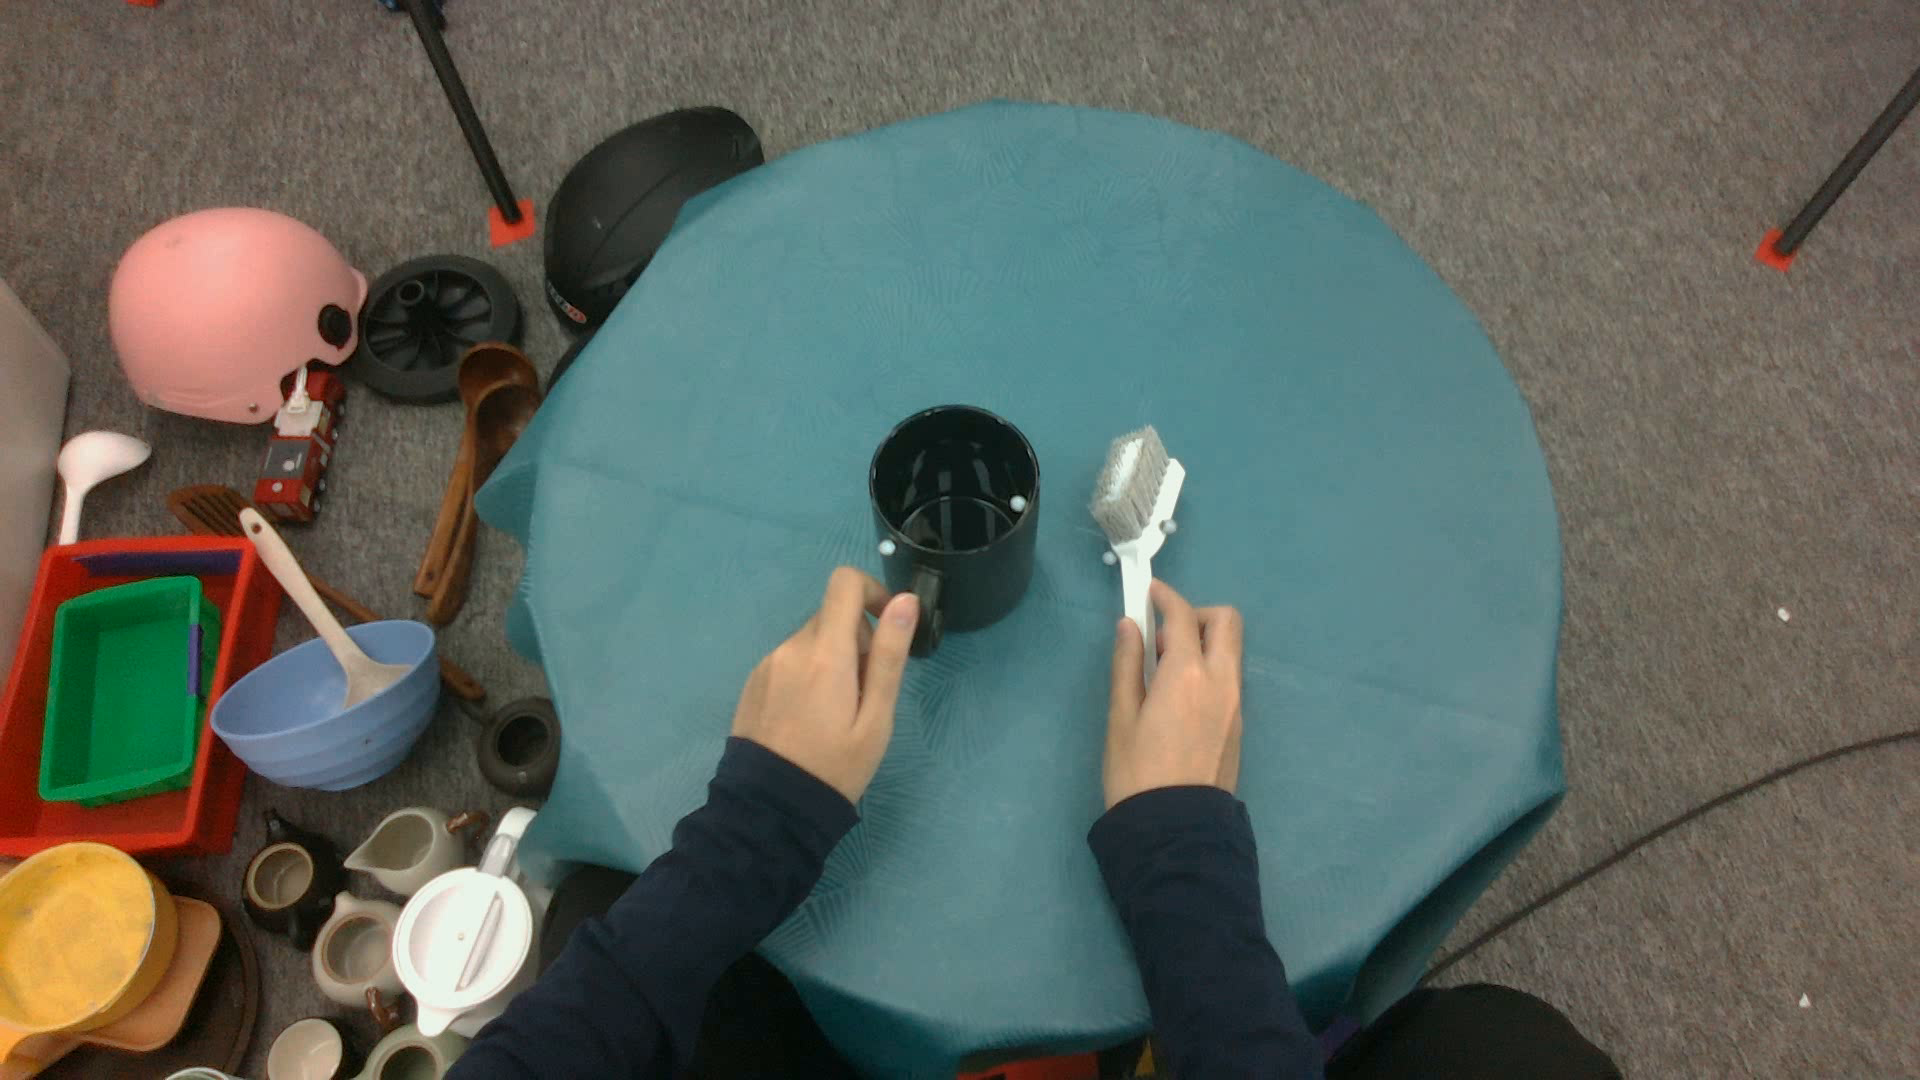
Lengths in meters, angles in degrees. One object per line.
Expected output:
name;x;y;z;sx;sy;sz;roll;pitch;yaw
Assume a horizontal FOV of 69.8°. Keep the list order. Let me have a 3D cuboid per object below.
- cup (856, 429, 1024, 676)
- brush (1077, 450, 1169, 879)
cup;-0.017;0.016;0.751;0.088;0.105;0.124;17;66;7
brush;0.079;0.060;0.756;0.034;0.050;0.244;-10;57;37
